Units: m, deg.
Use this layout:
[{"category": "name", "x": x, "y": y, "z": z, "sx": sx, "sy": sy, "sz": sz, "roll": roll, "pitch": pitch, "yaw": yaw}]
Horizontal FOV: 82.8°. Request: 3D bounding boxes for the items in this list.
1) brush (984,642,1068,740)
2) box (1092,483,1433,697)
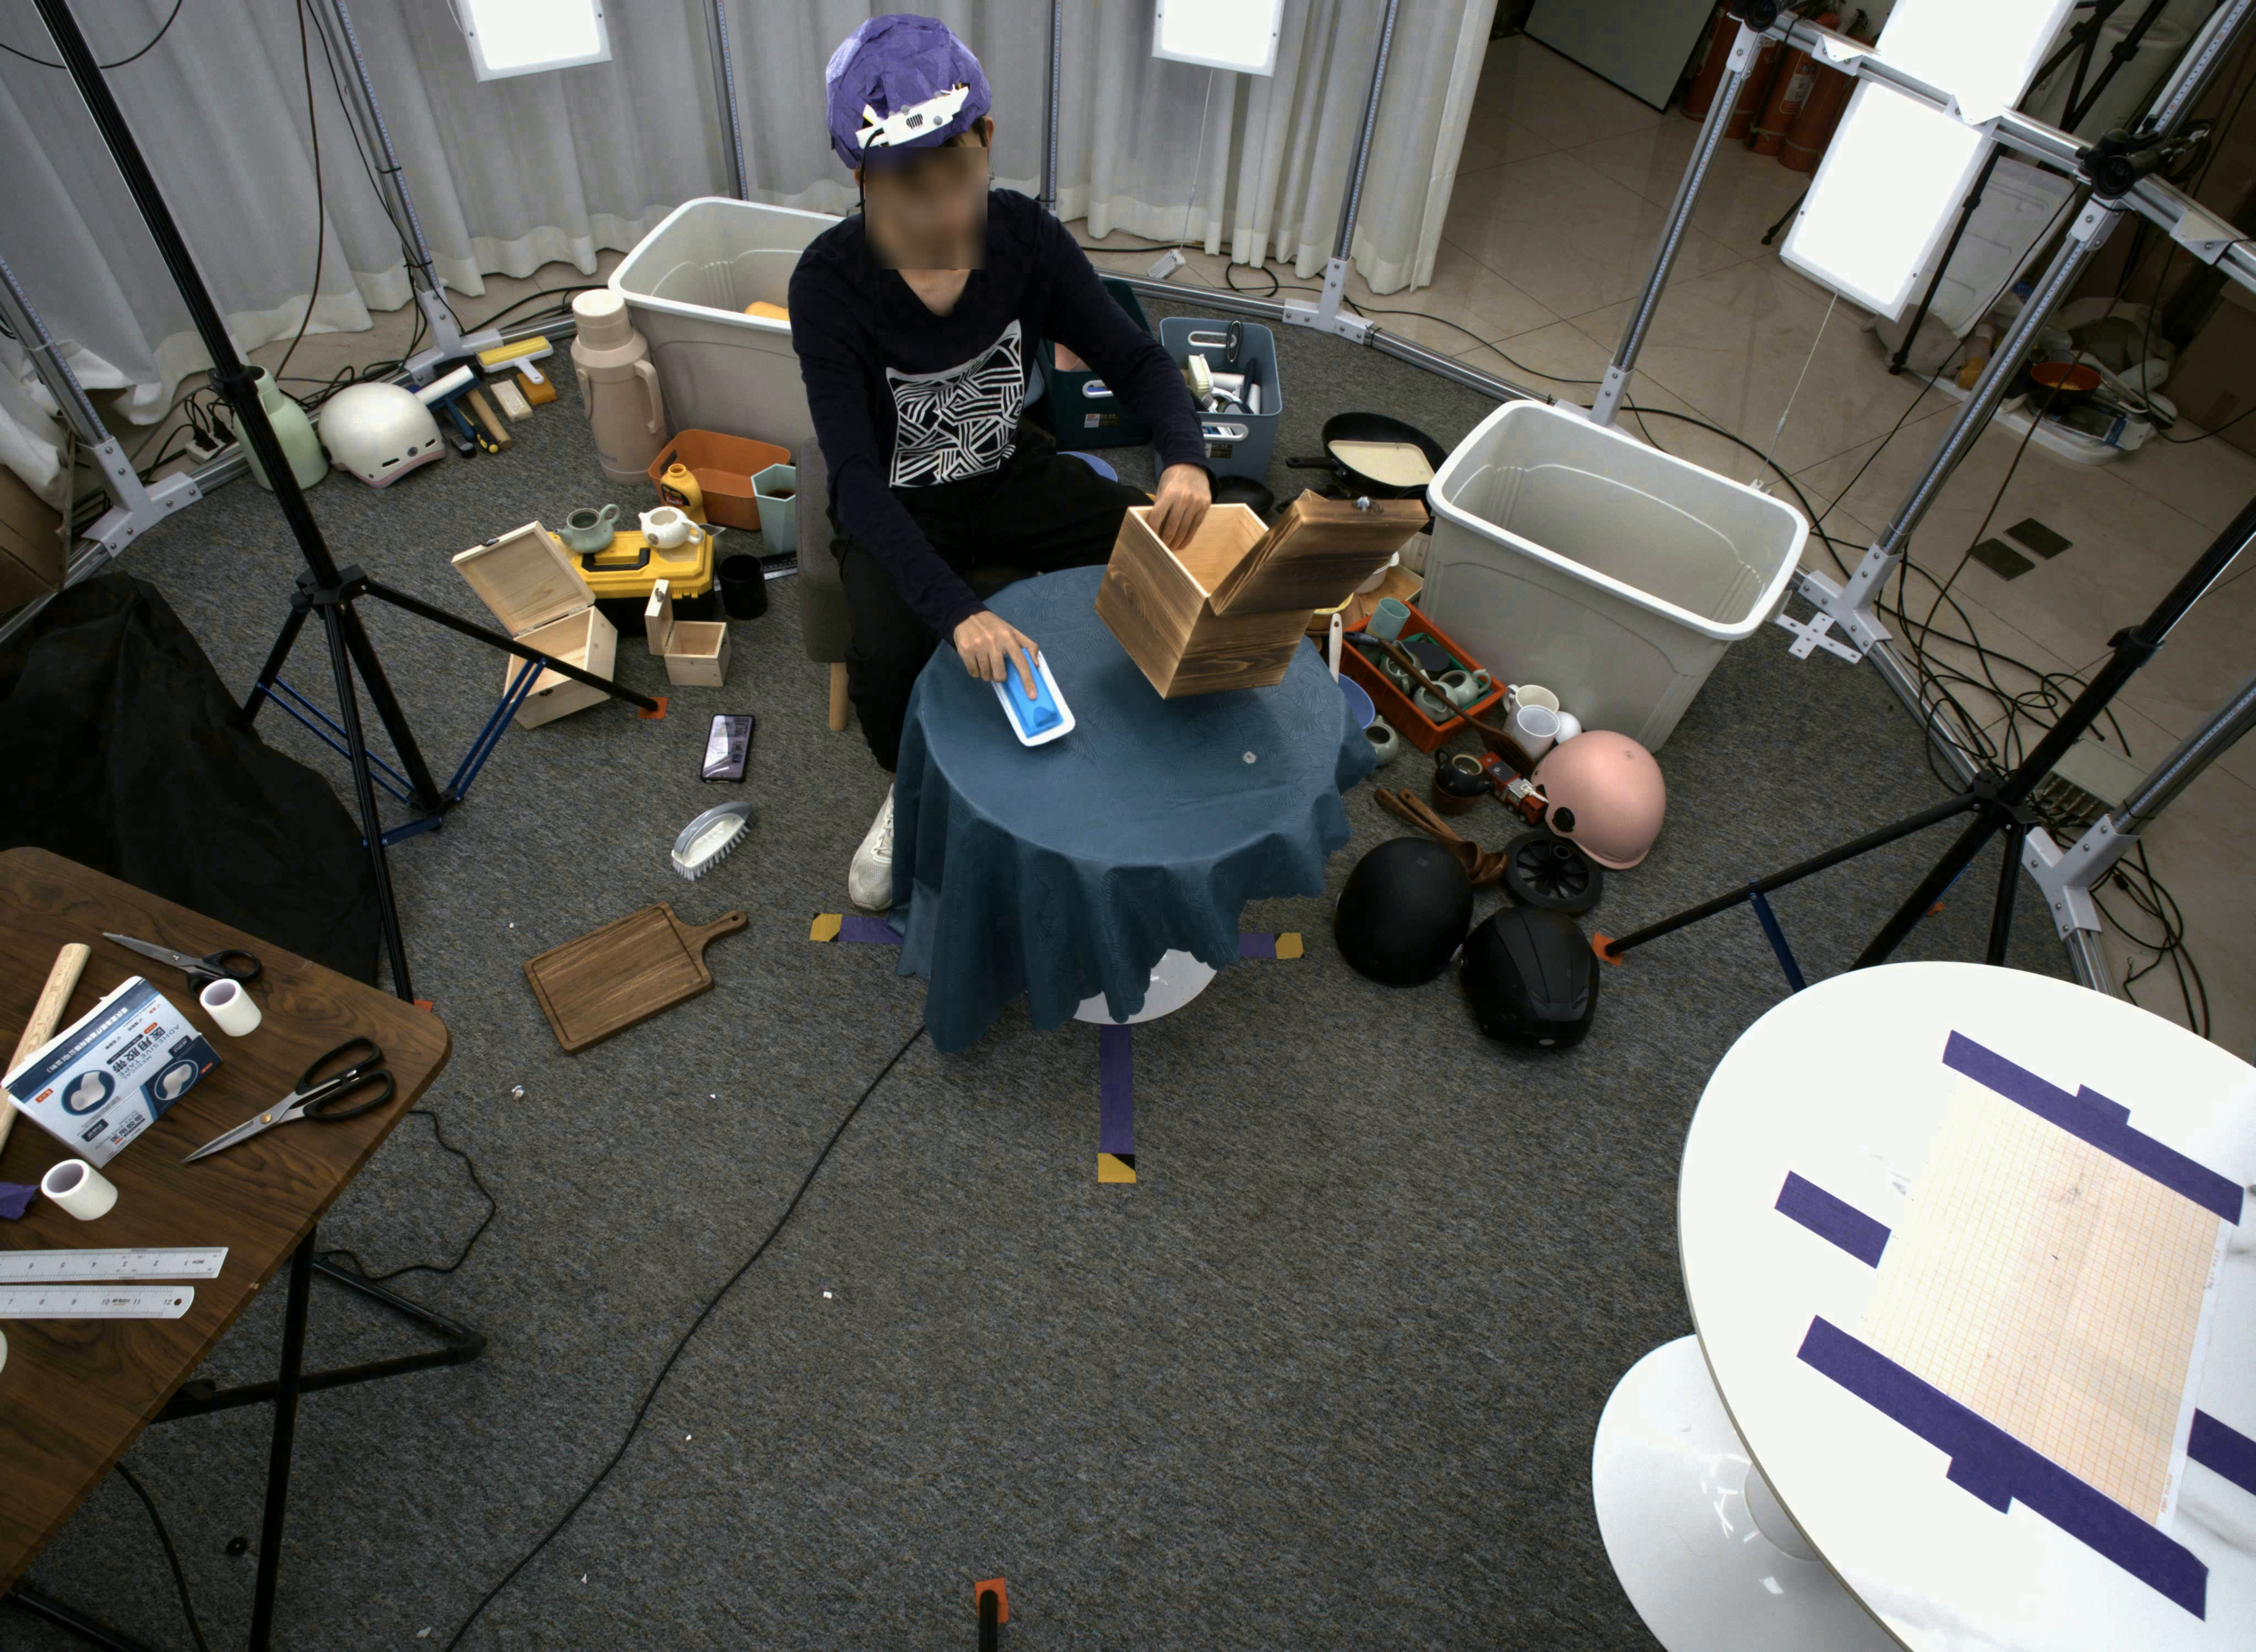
[{"category": "brush", "x": -0.138, "y": -0.190, "z": 1.745, "sx": 0.084, "sy": 0.055, "sz": 0.146, "roll": -20, "pitch": 69, "yaw": -12}, {"category": "box", "x": 0.160, "y": -0.346, "z": 1.673, "sx": 0.208, "sy": 0.368, "sz": 0.329, "roll": -8, "pitch": 48, "yaw": -33}]
